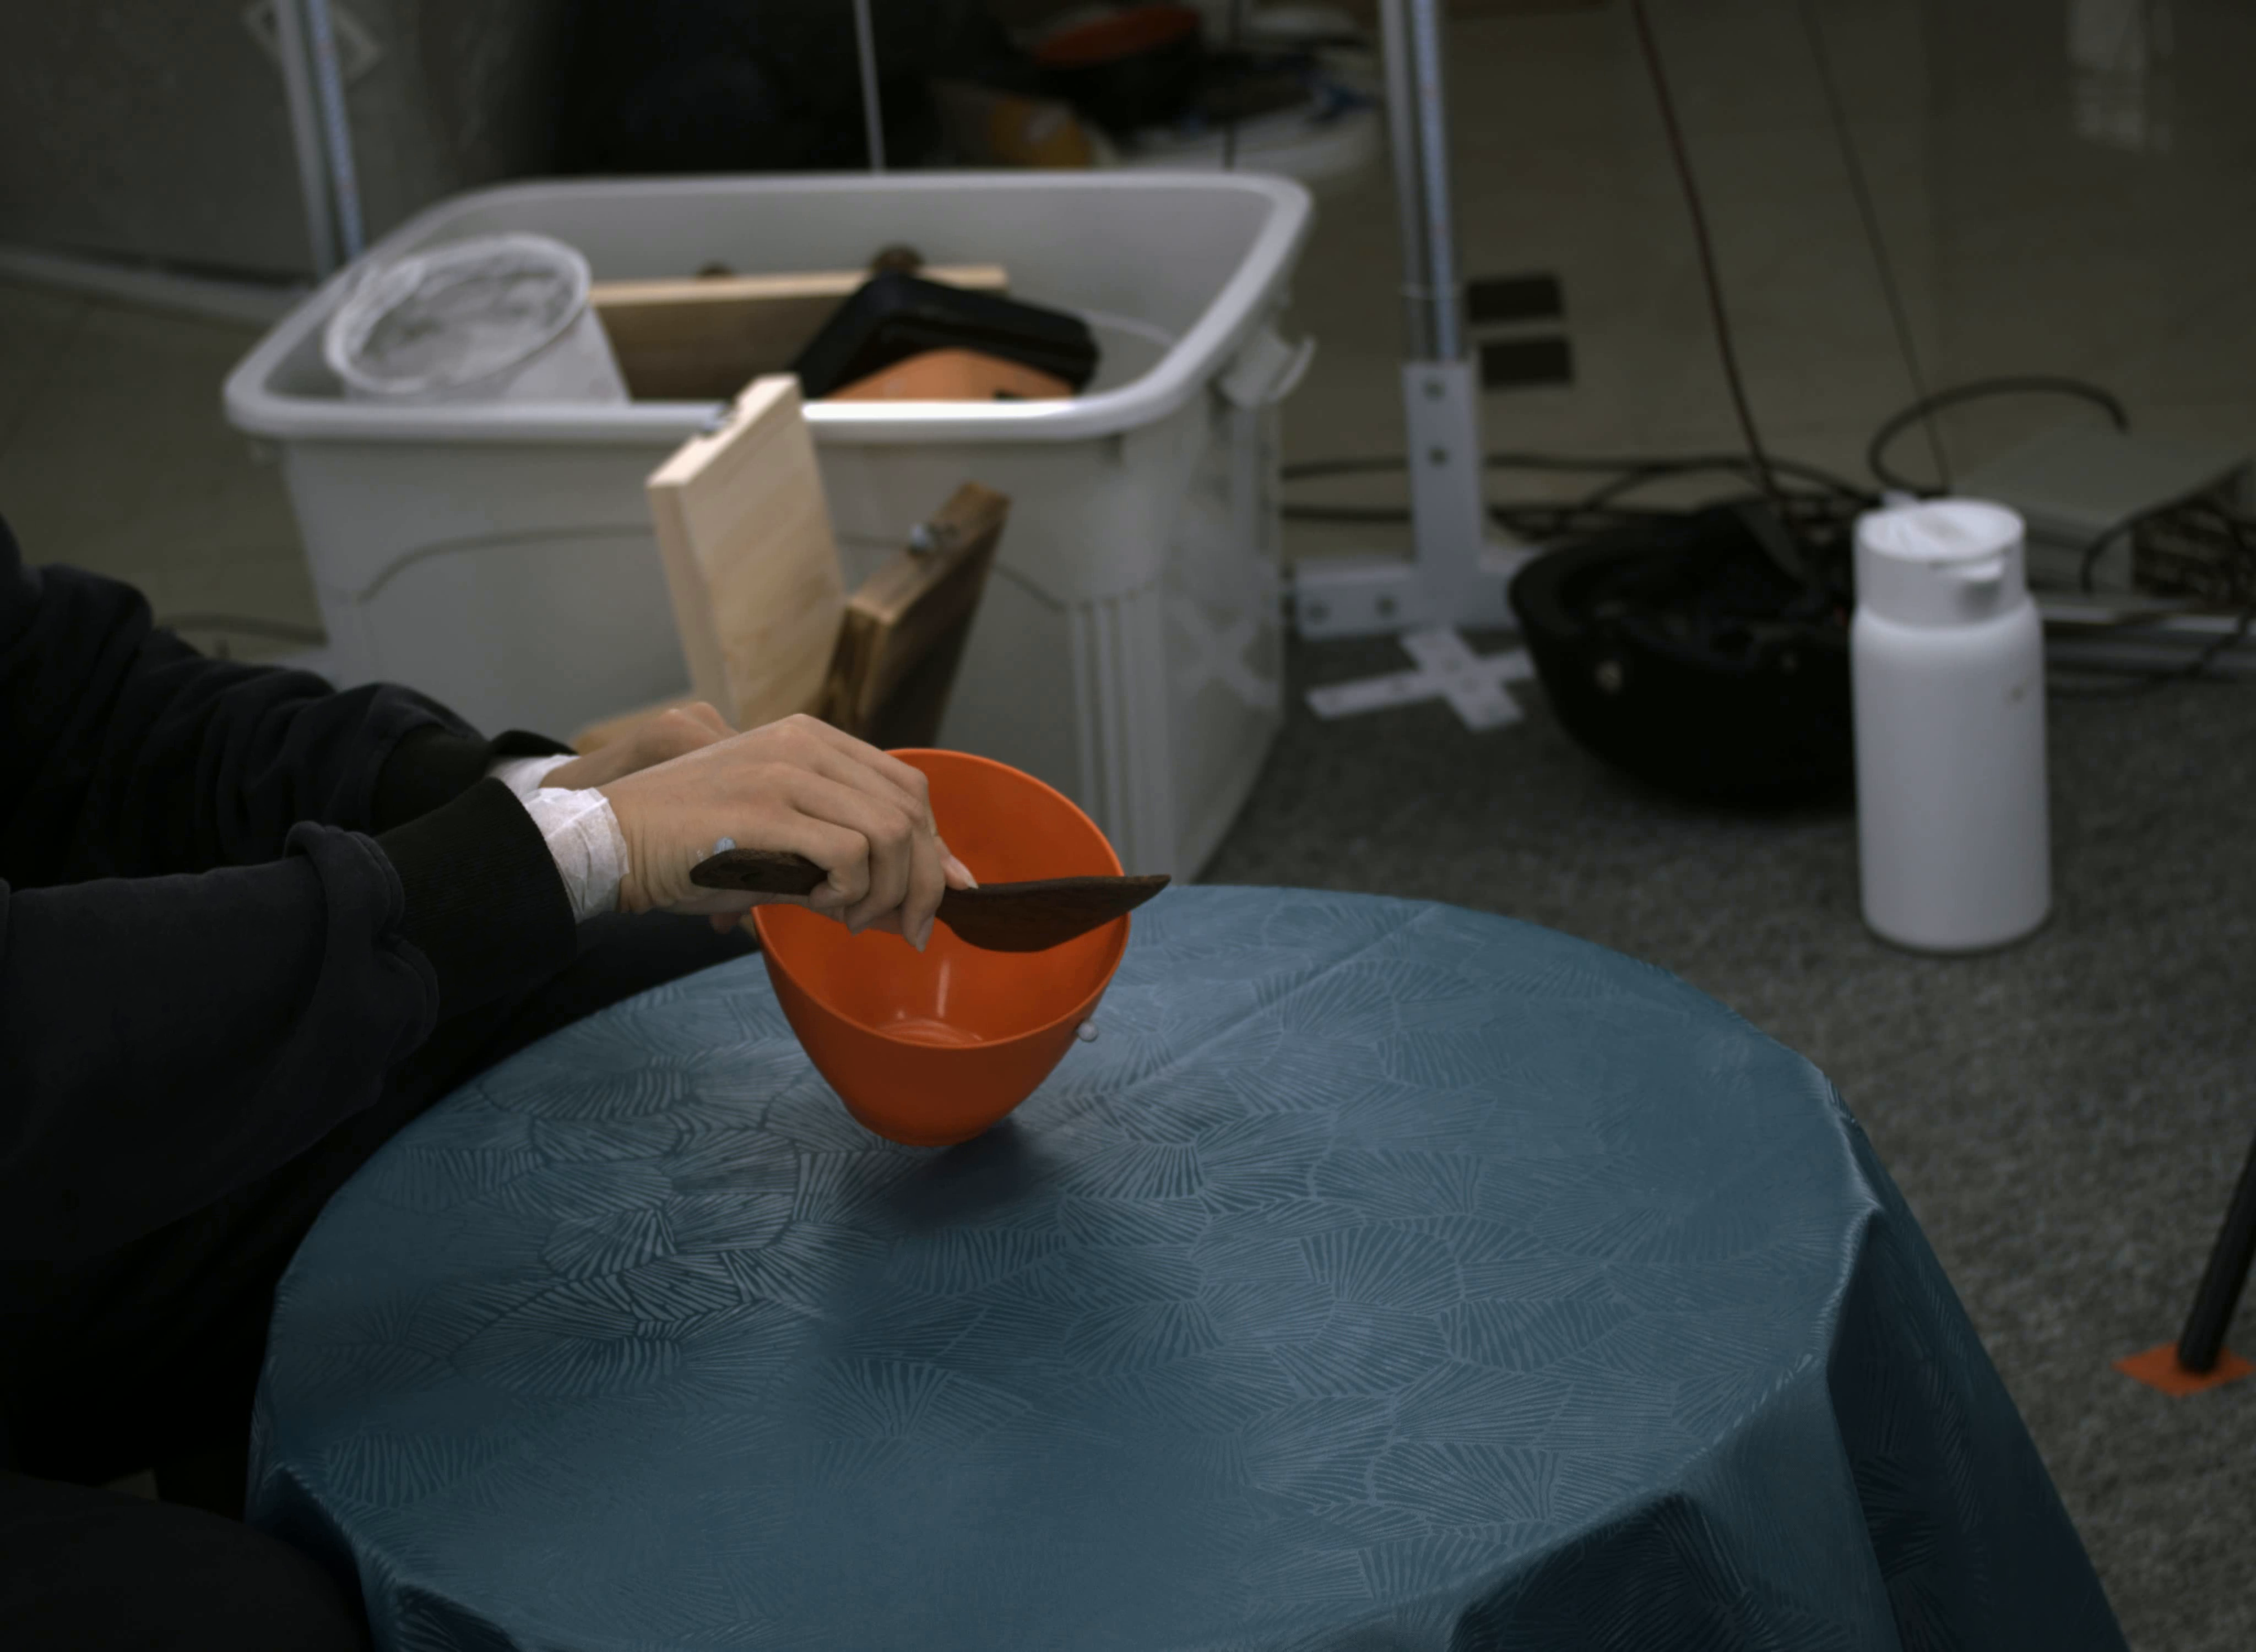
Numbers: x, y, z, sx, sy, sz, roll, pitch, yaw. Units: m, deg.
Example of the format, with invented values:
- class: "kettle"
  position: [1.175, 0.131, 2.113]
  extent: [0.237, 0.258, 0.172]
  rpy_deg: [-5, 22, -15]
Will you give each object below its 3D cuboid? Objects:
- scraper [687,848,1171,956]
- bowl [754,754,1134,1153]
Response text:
- class: "scraper"
  position: [-0.077, 0.025, 2.106]
  extent: [0.212, 0.011, 0.076]
  rpy_deg: [9, -29, -44]
- class: "bowl"
  position: [-0.075, 0.059, 2.197]
  extent: [0.148, 0.106, 0.145]
  rpy_deg: [6, 40, -5]
